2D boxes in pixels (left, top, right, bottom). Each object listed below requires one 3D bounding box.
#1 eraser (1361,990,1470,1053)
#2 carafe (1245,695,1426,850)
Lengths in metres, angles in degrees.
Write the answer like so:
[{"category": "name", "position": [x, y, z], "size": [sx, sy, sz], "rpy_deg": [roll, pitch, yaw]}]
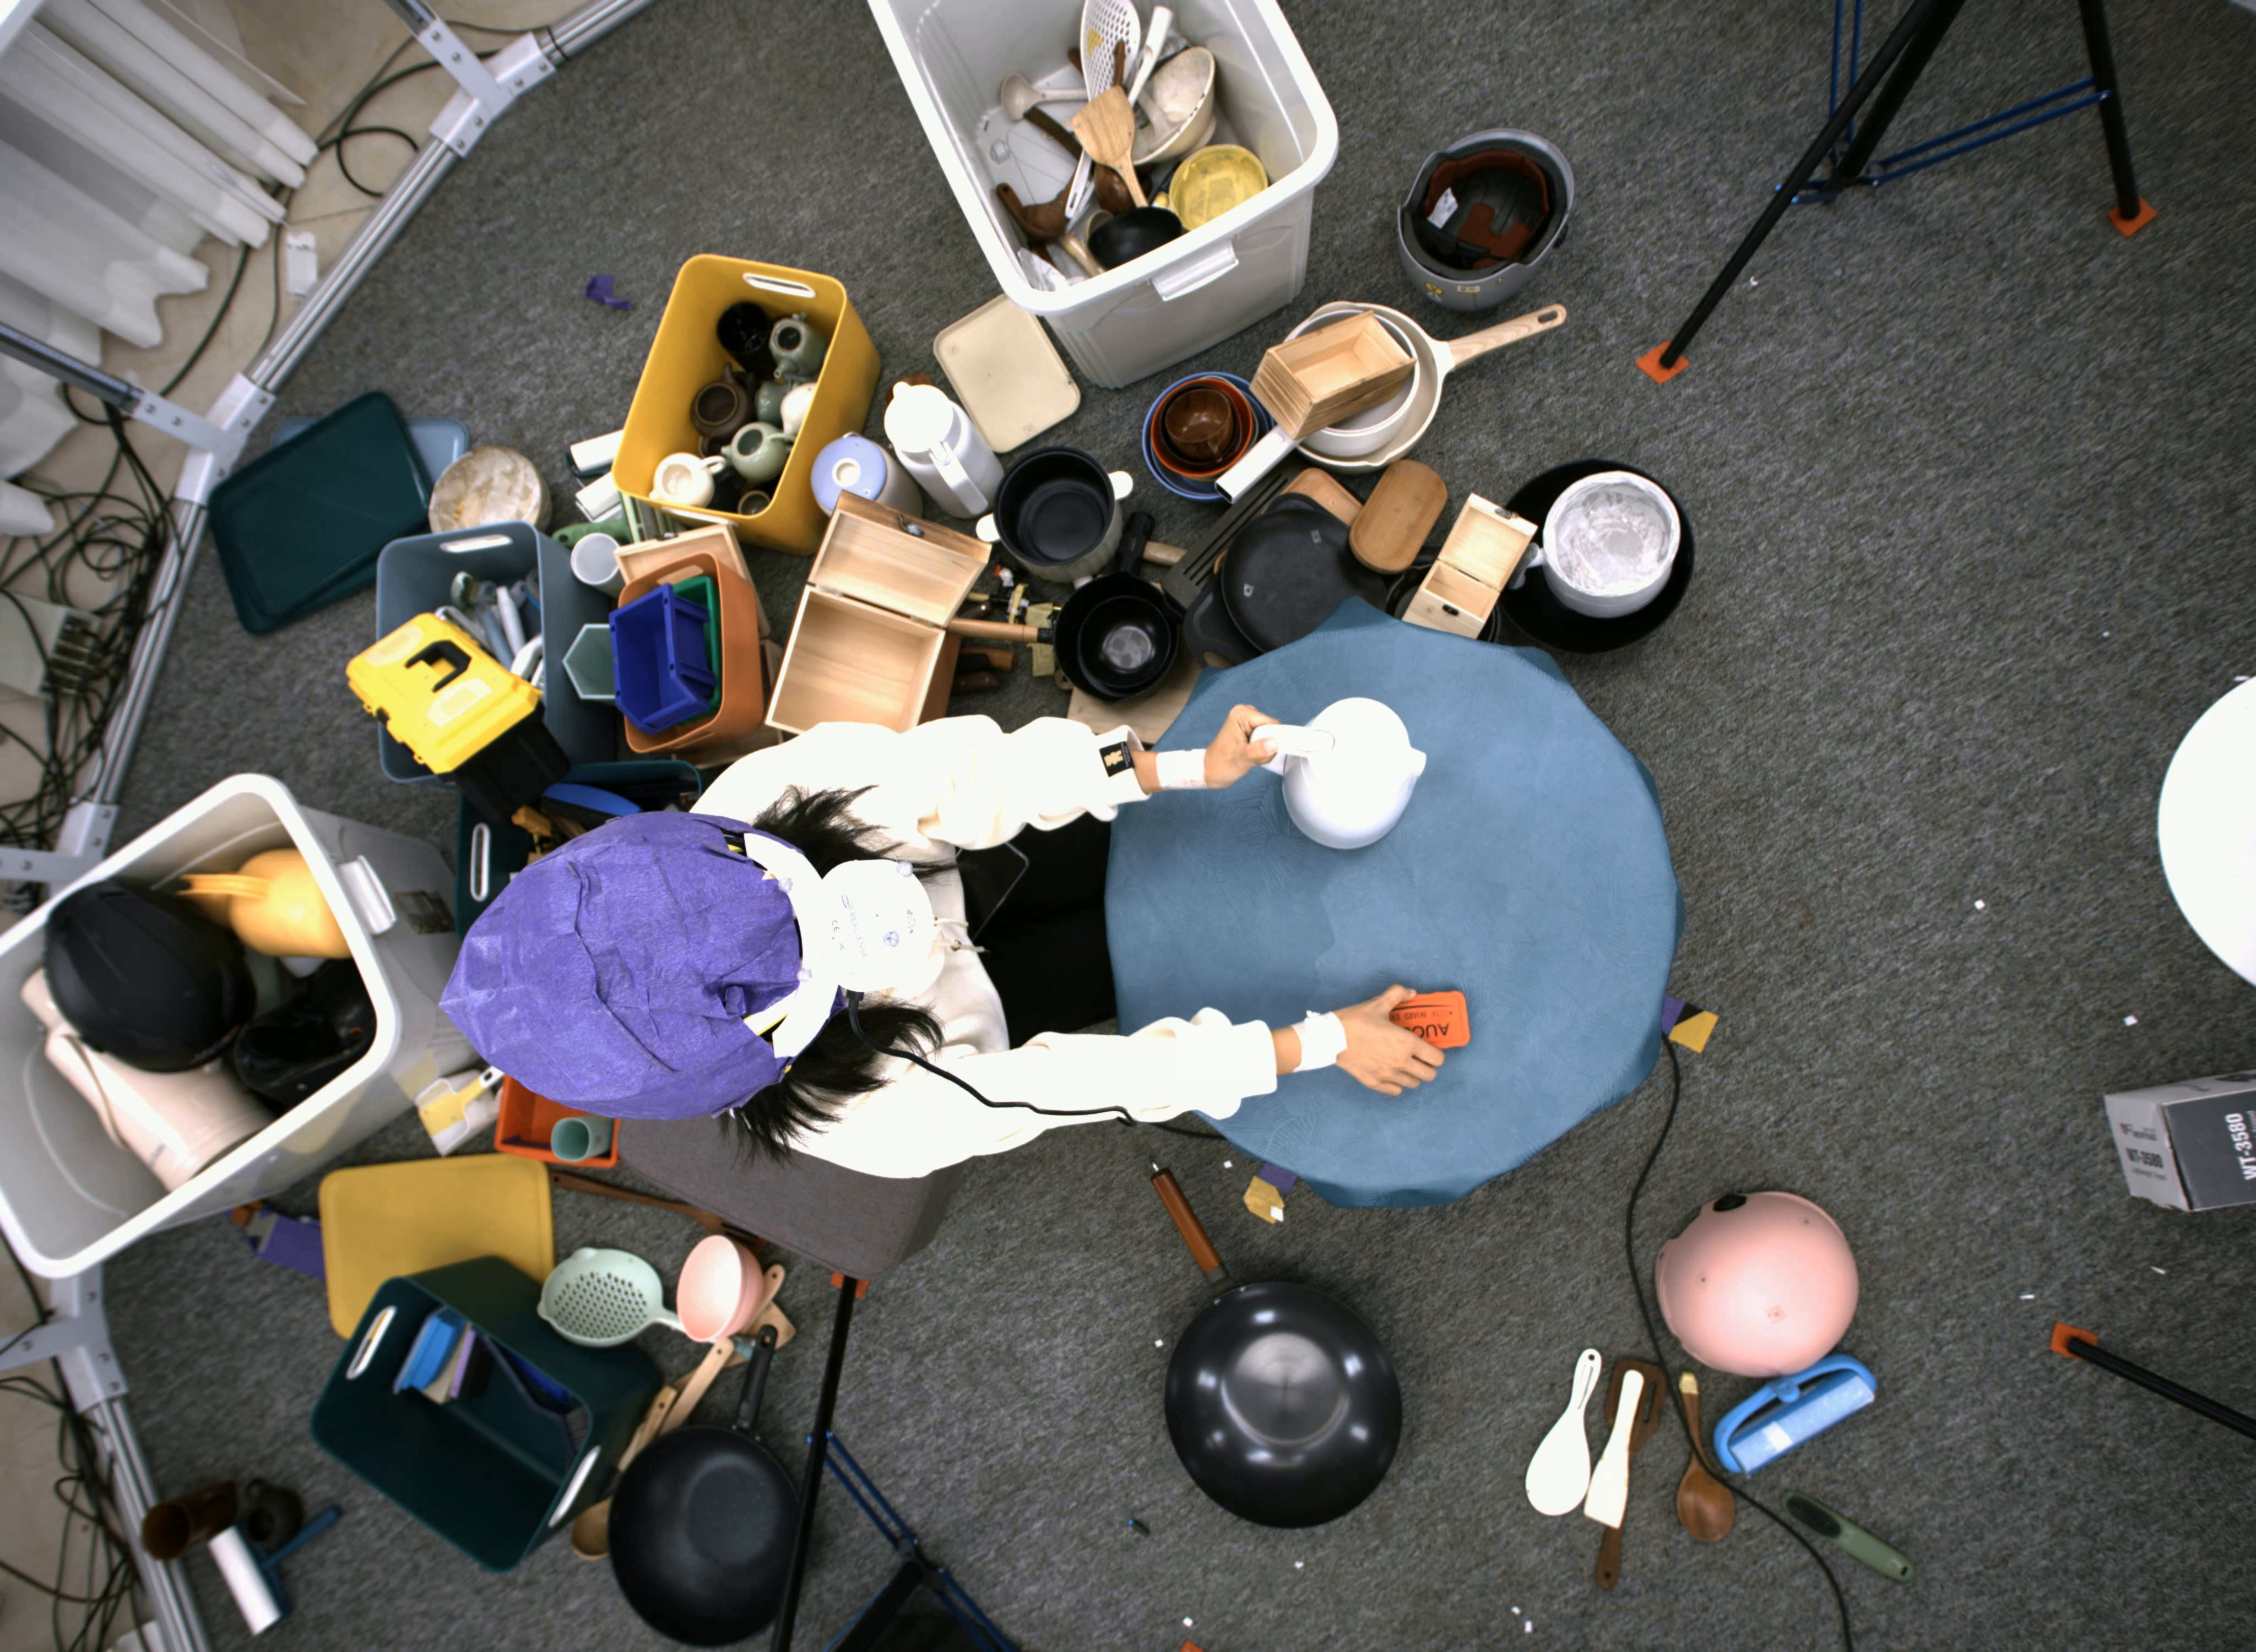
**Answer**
[{"category": "eraser", "position": [0.298, 0.202, 1.435], "size": [0.108, 0.023, 0.058], "rpy_deg": [-7, 81, 10]}, {"category": "carafe", "position": [0.198, -0.060, 1.349], "size": [0.168, 0.249, 0.132], "rpy_deg": [11, 84, 8]}]
